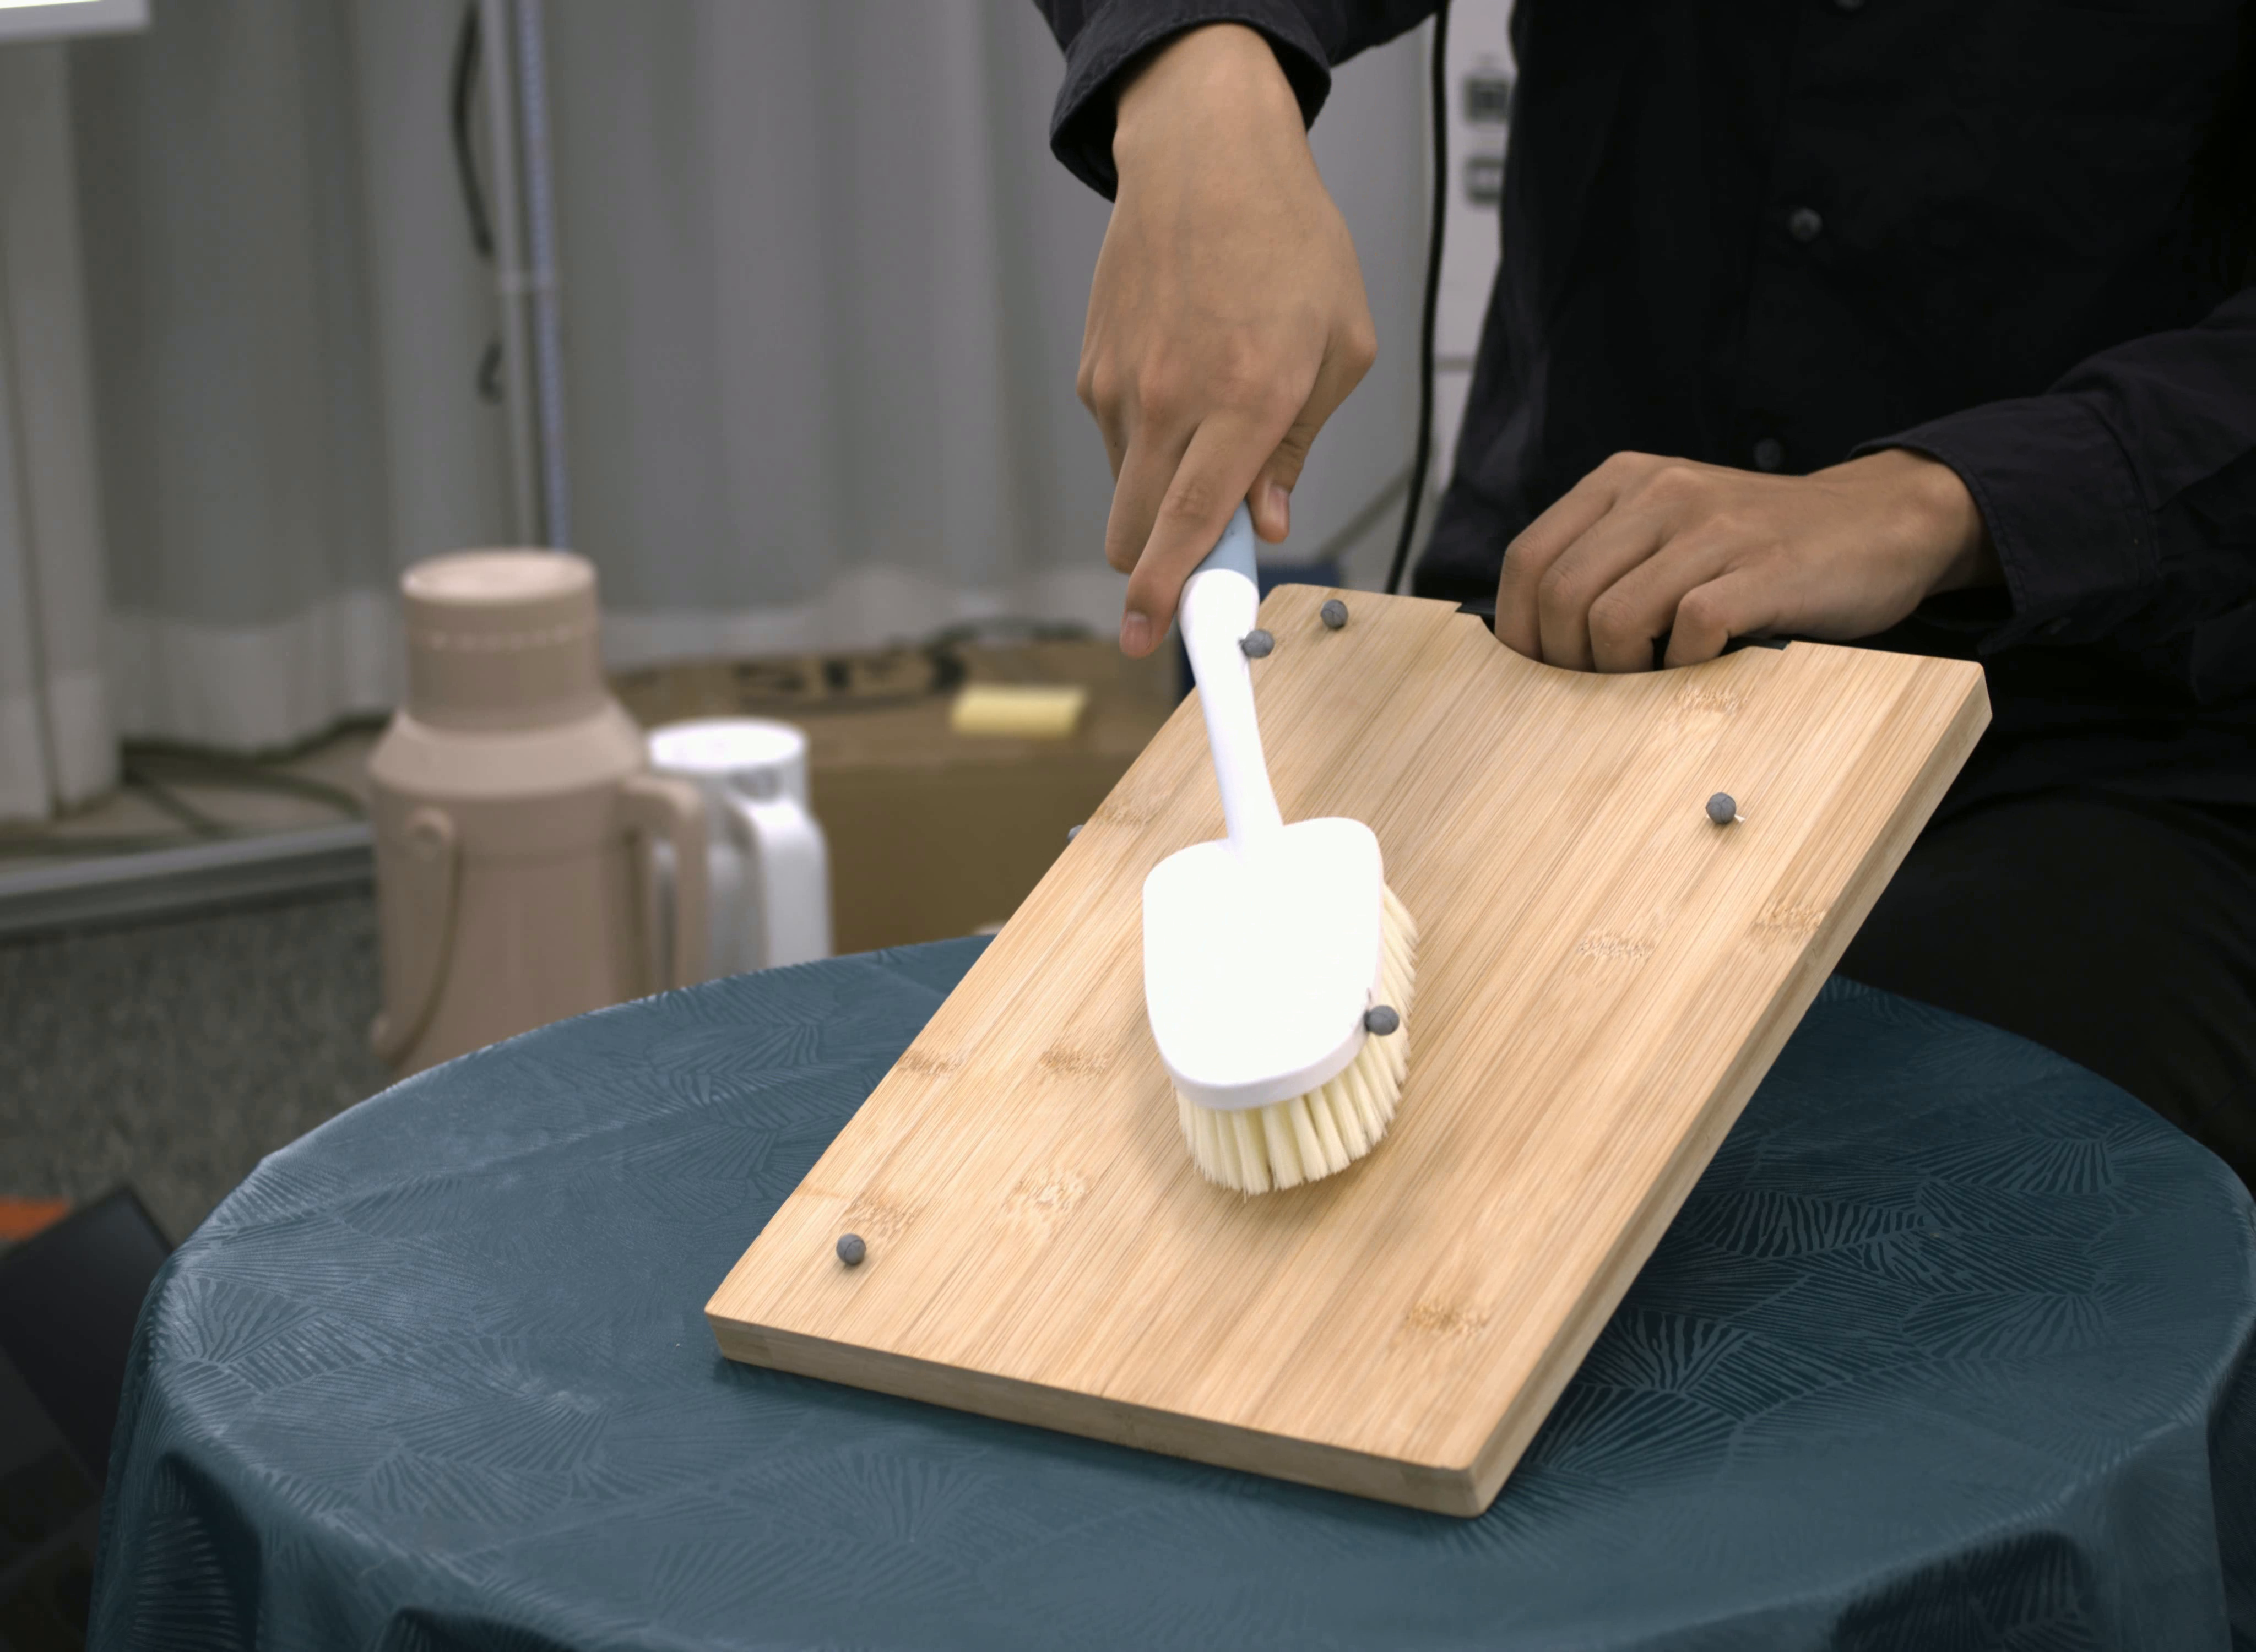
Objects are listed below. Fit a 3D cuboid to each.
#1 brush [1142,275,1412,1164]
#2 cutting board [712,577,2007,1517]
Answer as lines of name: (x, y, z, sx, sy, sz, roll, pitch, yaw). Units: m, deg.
brush: (0.041, -0.027, 1.522, 0.081, 0.085, 0.329, 14, 43, -16)
cutting board: (0.069, 0.049, 1.488, 0.255, 0.023, 0.346, 7, 42, 32)
